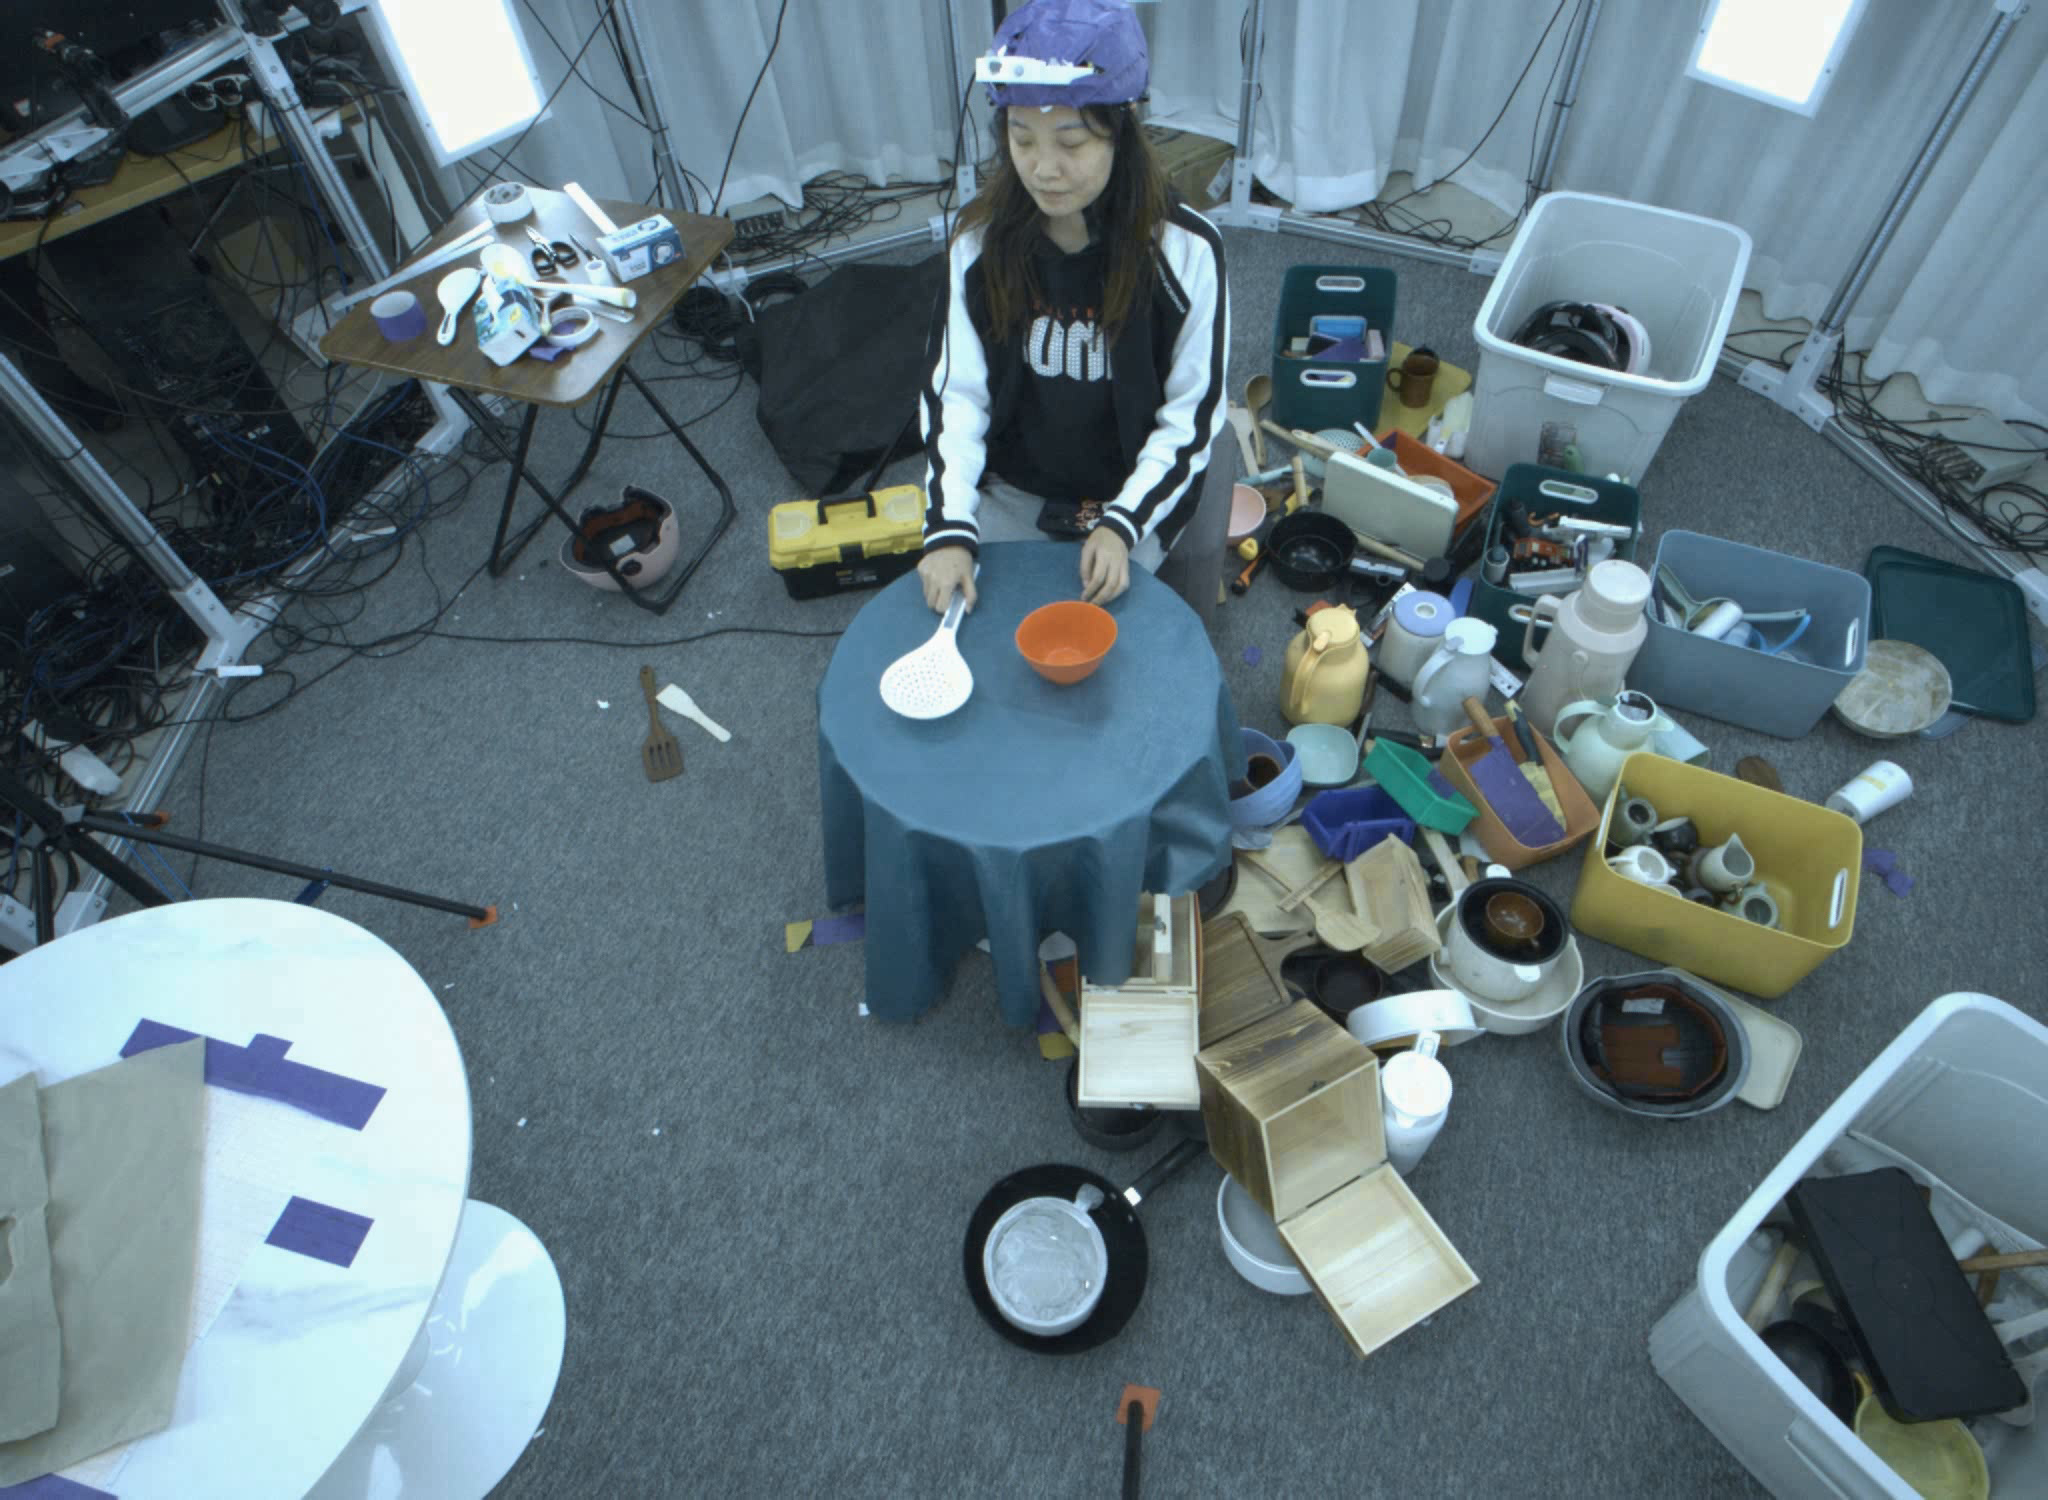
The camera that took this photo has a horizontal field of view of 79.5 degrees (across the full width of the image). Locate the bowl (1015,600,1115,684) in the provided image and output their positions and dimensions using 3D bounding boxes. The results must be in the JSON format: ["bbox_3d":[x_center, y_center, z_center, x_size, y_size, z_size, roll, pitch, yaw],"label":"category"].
[{"bbox_3d":[0.064,-0.147,1.826,0.147,0.106,0.146,-3,55,5],"label":"bowl"}]

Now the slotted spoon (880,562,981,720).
[{"bbox_3d":[-0.122,-0.172,1.886,0.135,0.046,0.348,11,55,6],"label":"slotted spoon"}]
